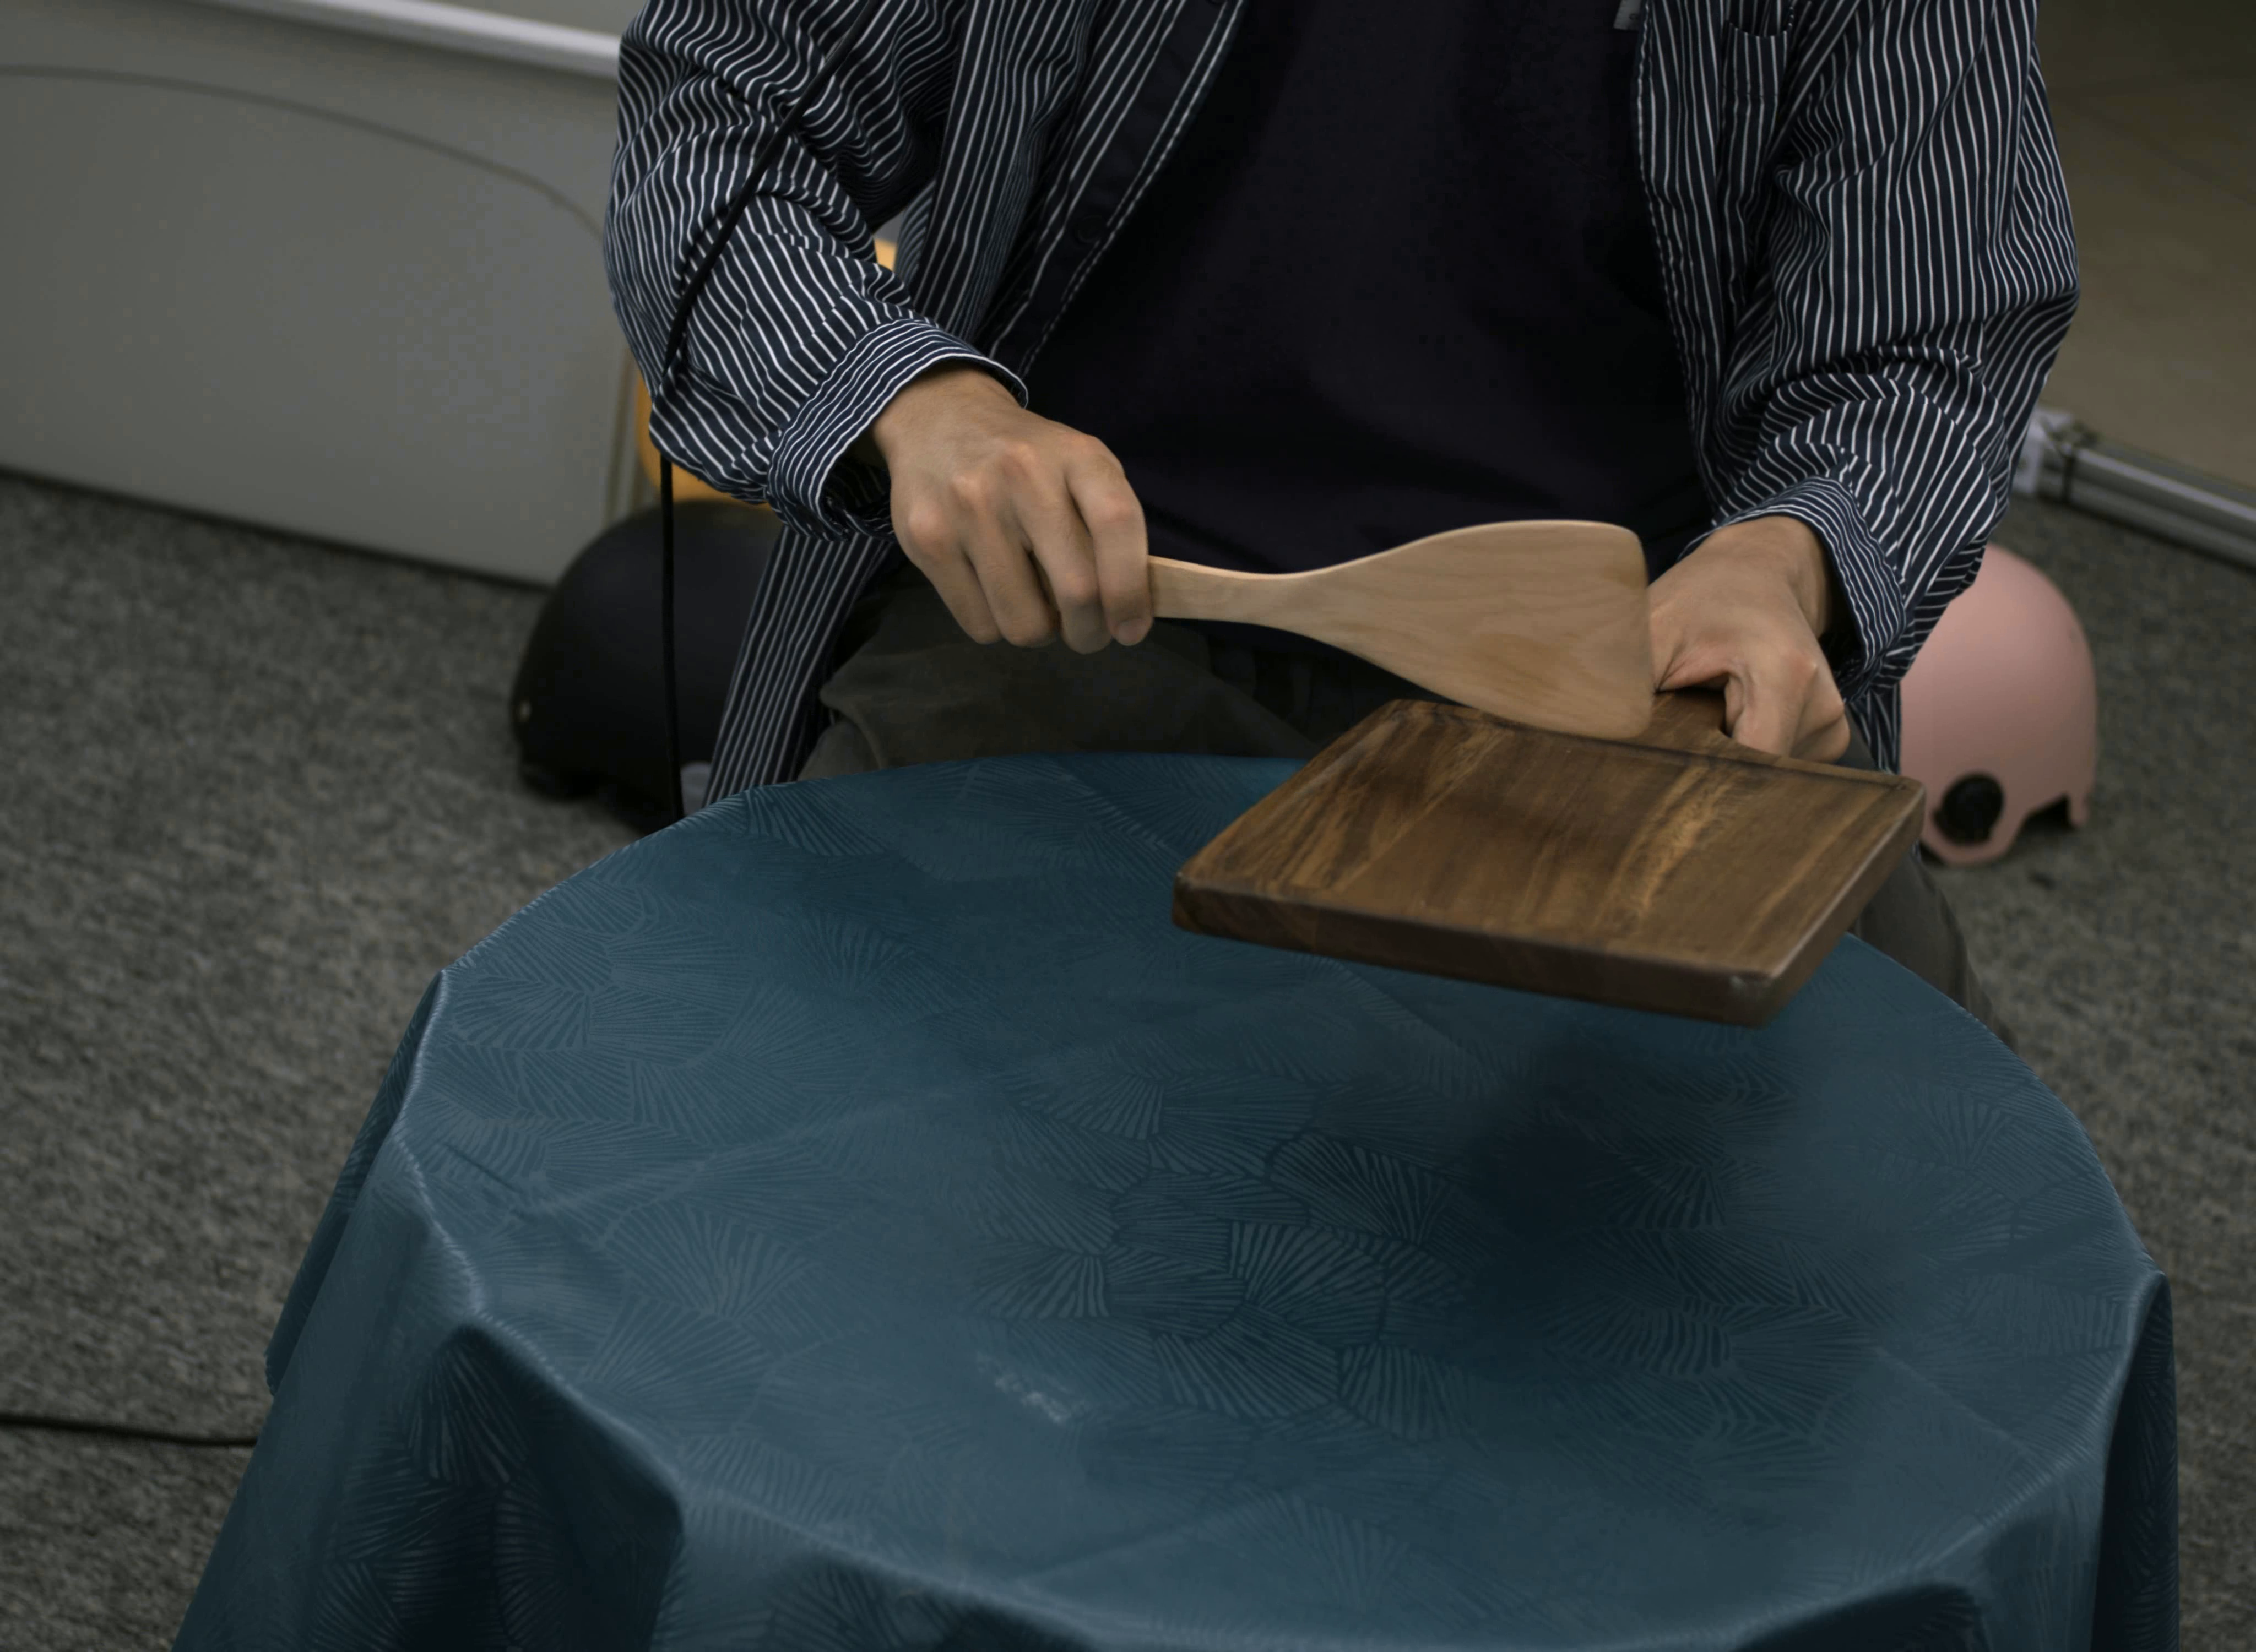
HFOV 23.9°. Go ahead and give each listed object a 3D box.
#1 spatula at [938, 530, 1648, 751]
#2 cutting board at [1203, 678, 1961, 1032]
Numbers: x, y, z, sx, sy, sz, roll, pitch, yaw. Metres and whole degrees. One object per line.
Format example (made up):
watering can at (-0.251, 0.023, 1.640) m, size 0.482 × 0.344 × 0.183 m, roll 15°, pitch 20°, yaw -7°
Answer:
spatula at (0.052, -0.076, 1.850) m, size 0.329 × 0.079 × 0.016 m, roll 9°, pitch 31°, yaw 44°
cutting board at (0.171, -0.002, 1.792) m, size 0.201 × 0.023 × 0.351 m, roll 9°, pitch 17°, yaw 18°
